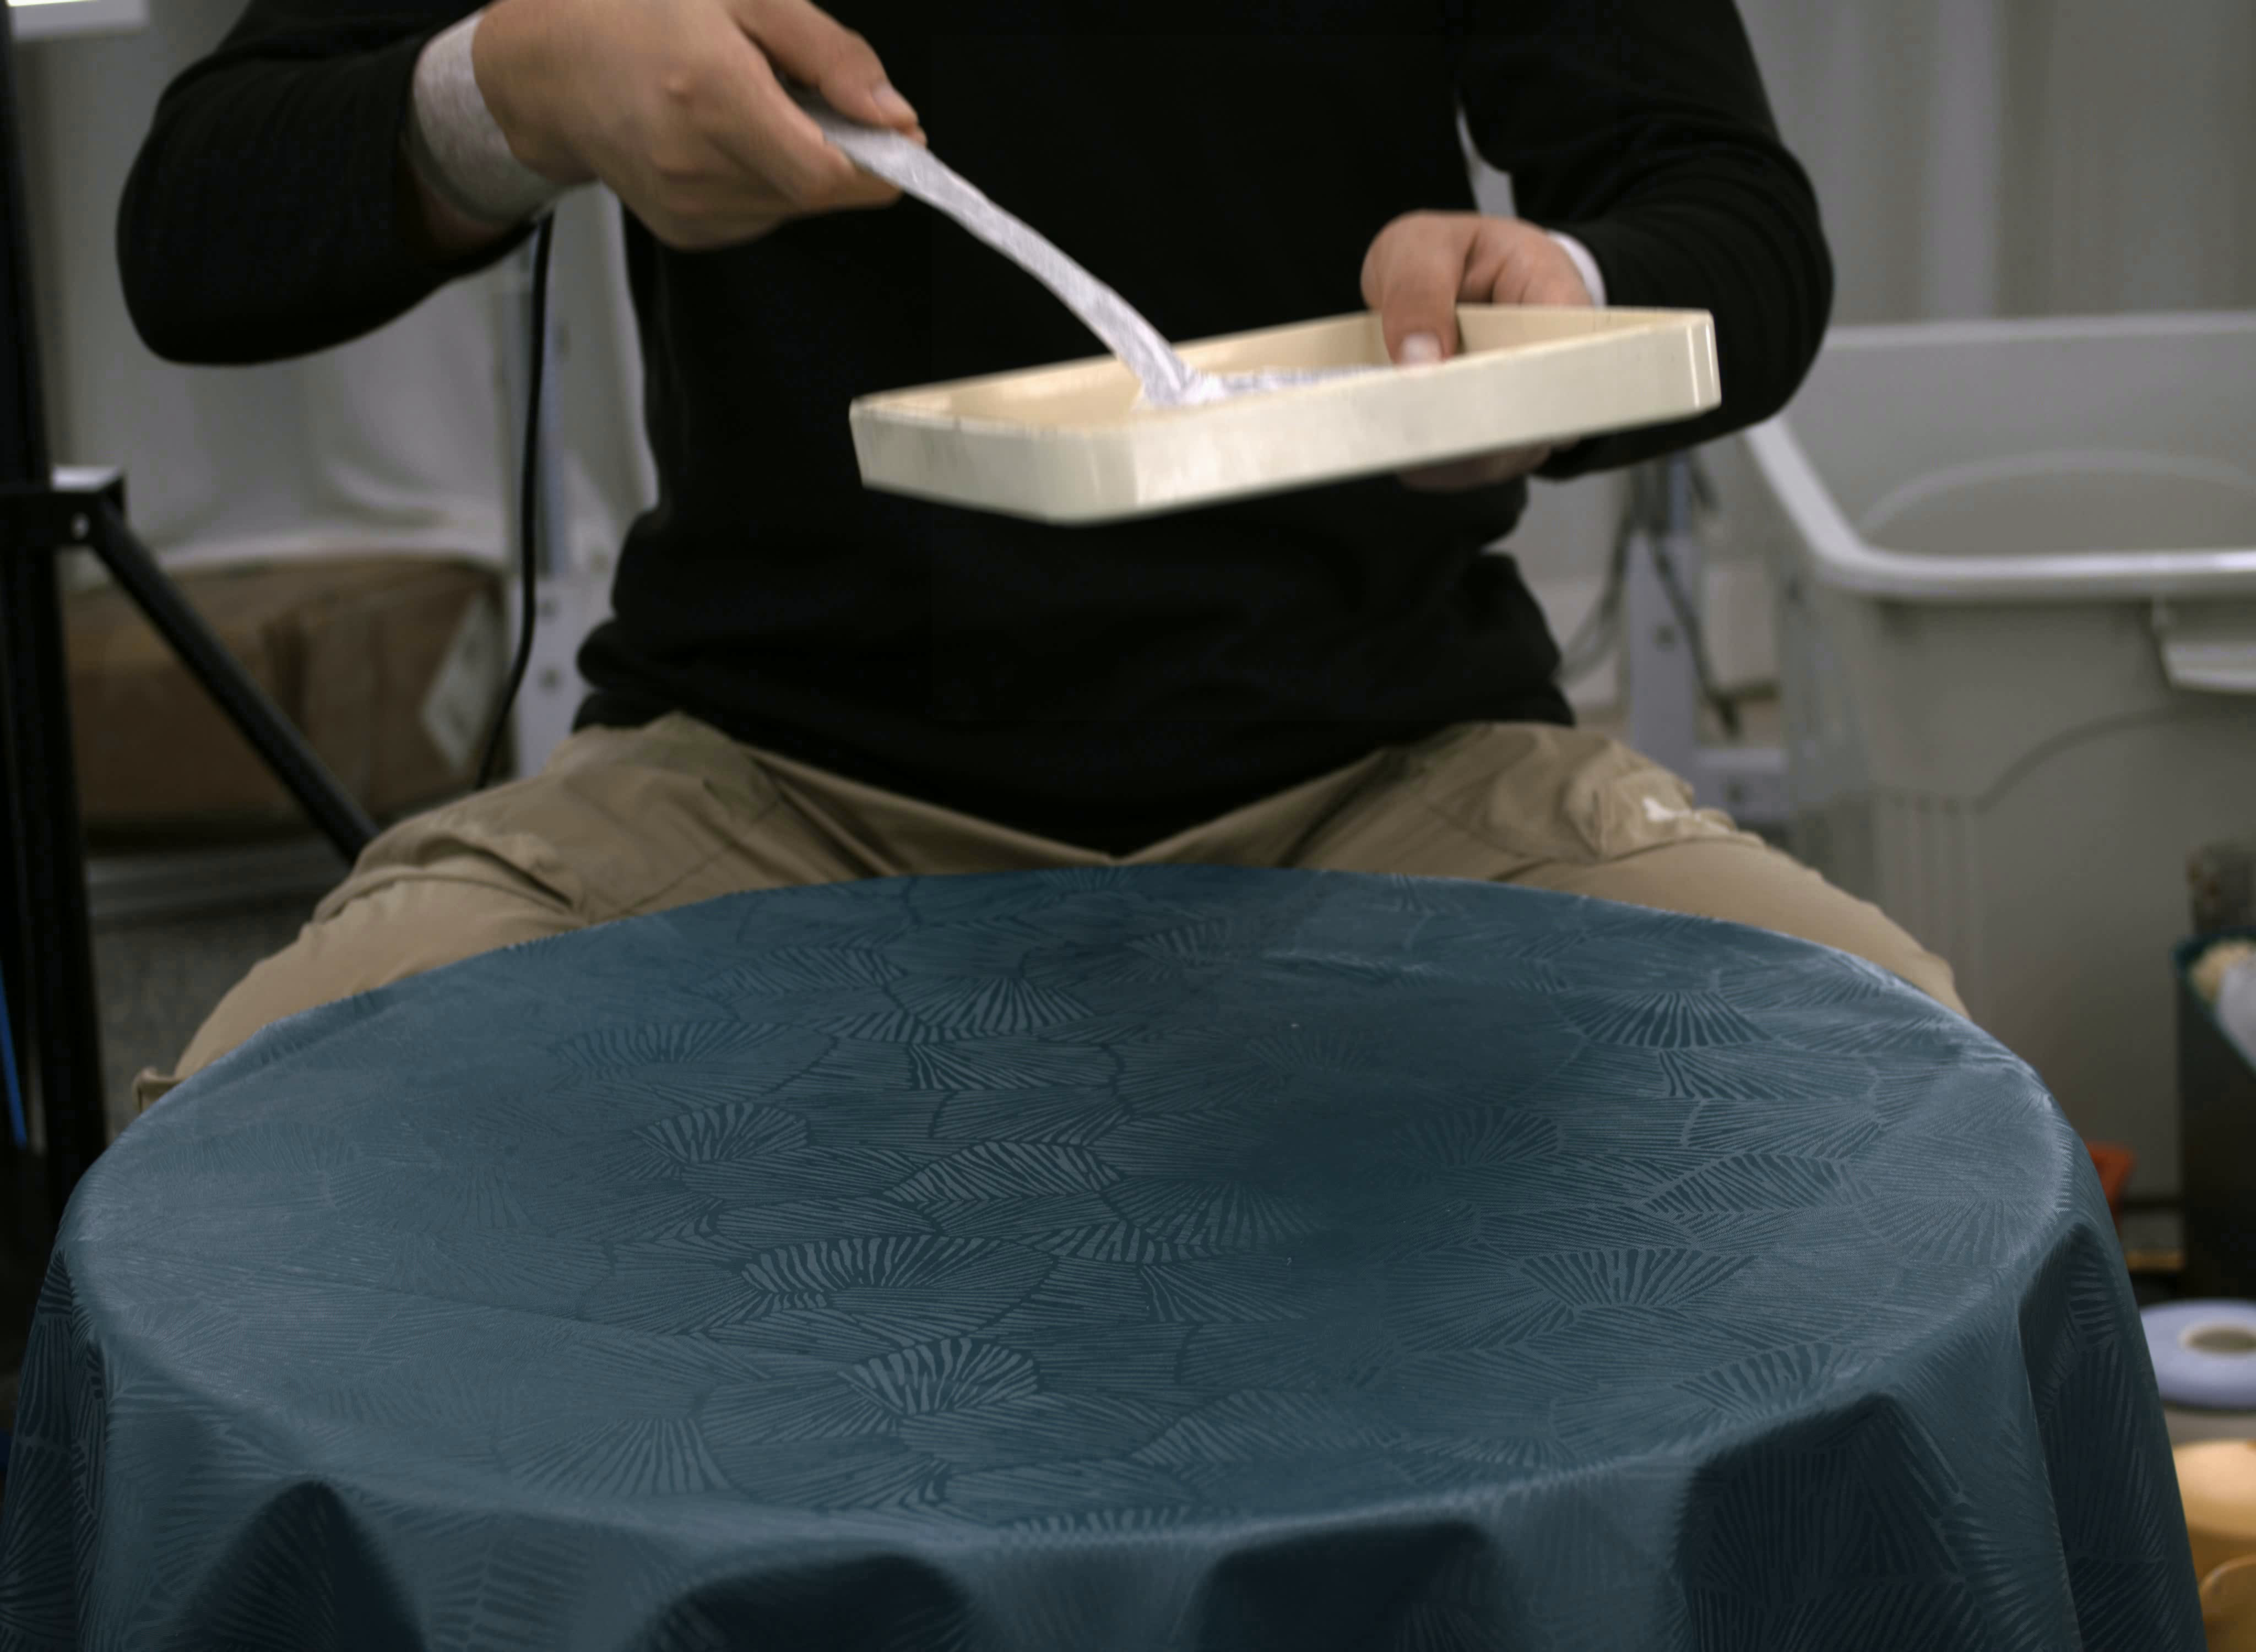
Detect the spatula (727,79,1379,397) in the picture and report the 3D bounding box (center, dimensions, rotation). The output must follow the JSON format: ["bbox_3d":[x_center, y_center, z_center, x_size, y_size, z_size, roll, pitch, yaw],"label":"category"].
[{"bbox_3d":[-0.029,-0.174,1.584,0.096,0.044,0.373,-17,35,-29],"label":"spatula"}]

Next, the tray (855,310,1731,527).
[{"bbox_3d":[0.039,-0.118,1.528,0.189,0.027,0.303,-11,8,-11],"label":"tray"}]
